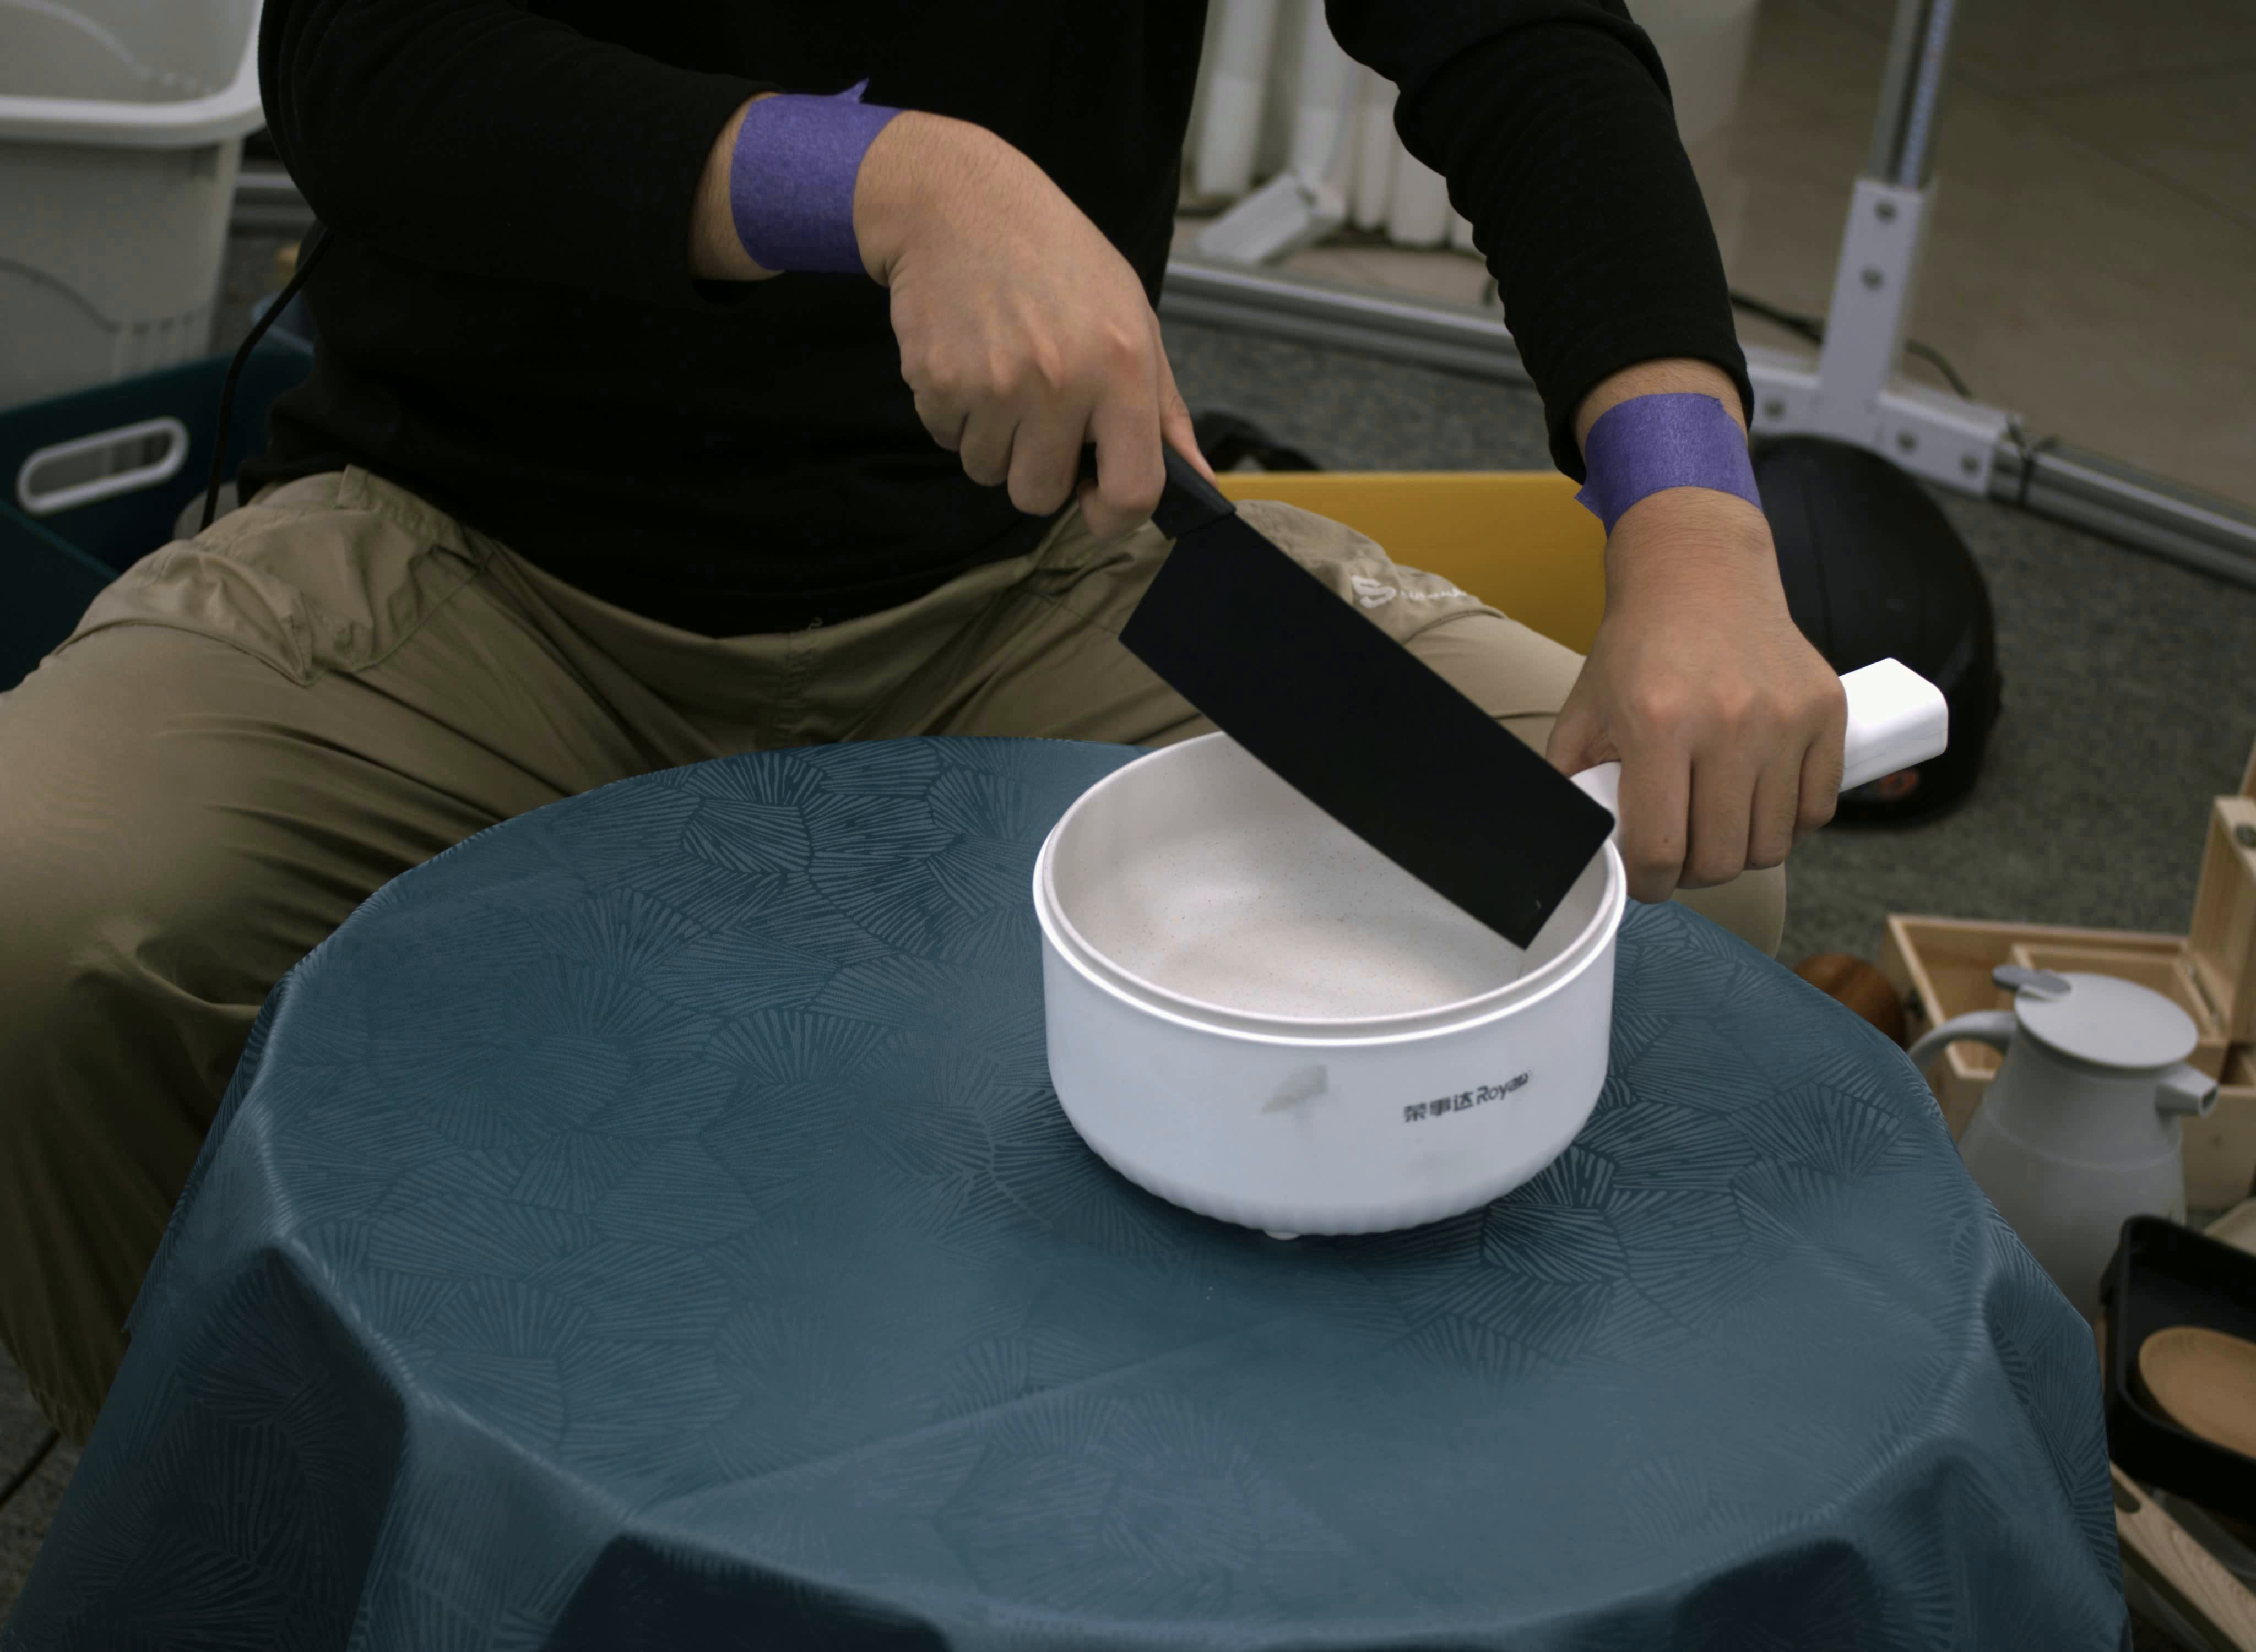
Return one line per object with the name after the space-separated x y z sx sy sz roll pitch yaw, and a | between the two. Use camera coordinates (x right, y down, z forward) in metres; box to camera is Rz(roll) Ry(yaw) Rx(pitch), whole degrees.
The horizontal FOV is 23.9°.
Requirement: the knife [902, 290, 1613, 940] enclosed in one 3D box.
0.037 -0.077 1.816 0.303 0.081 0.021 44 27 11 | knife

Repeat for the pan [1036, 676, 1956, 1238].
0.135 0.037 1.861 0.353 0.101 0.203 -17 34 -26 | pan
